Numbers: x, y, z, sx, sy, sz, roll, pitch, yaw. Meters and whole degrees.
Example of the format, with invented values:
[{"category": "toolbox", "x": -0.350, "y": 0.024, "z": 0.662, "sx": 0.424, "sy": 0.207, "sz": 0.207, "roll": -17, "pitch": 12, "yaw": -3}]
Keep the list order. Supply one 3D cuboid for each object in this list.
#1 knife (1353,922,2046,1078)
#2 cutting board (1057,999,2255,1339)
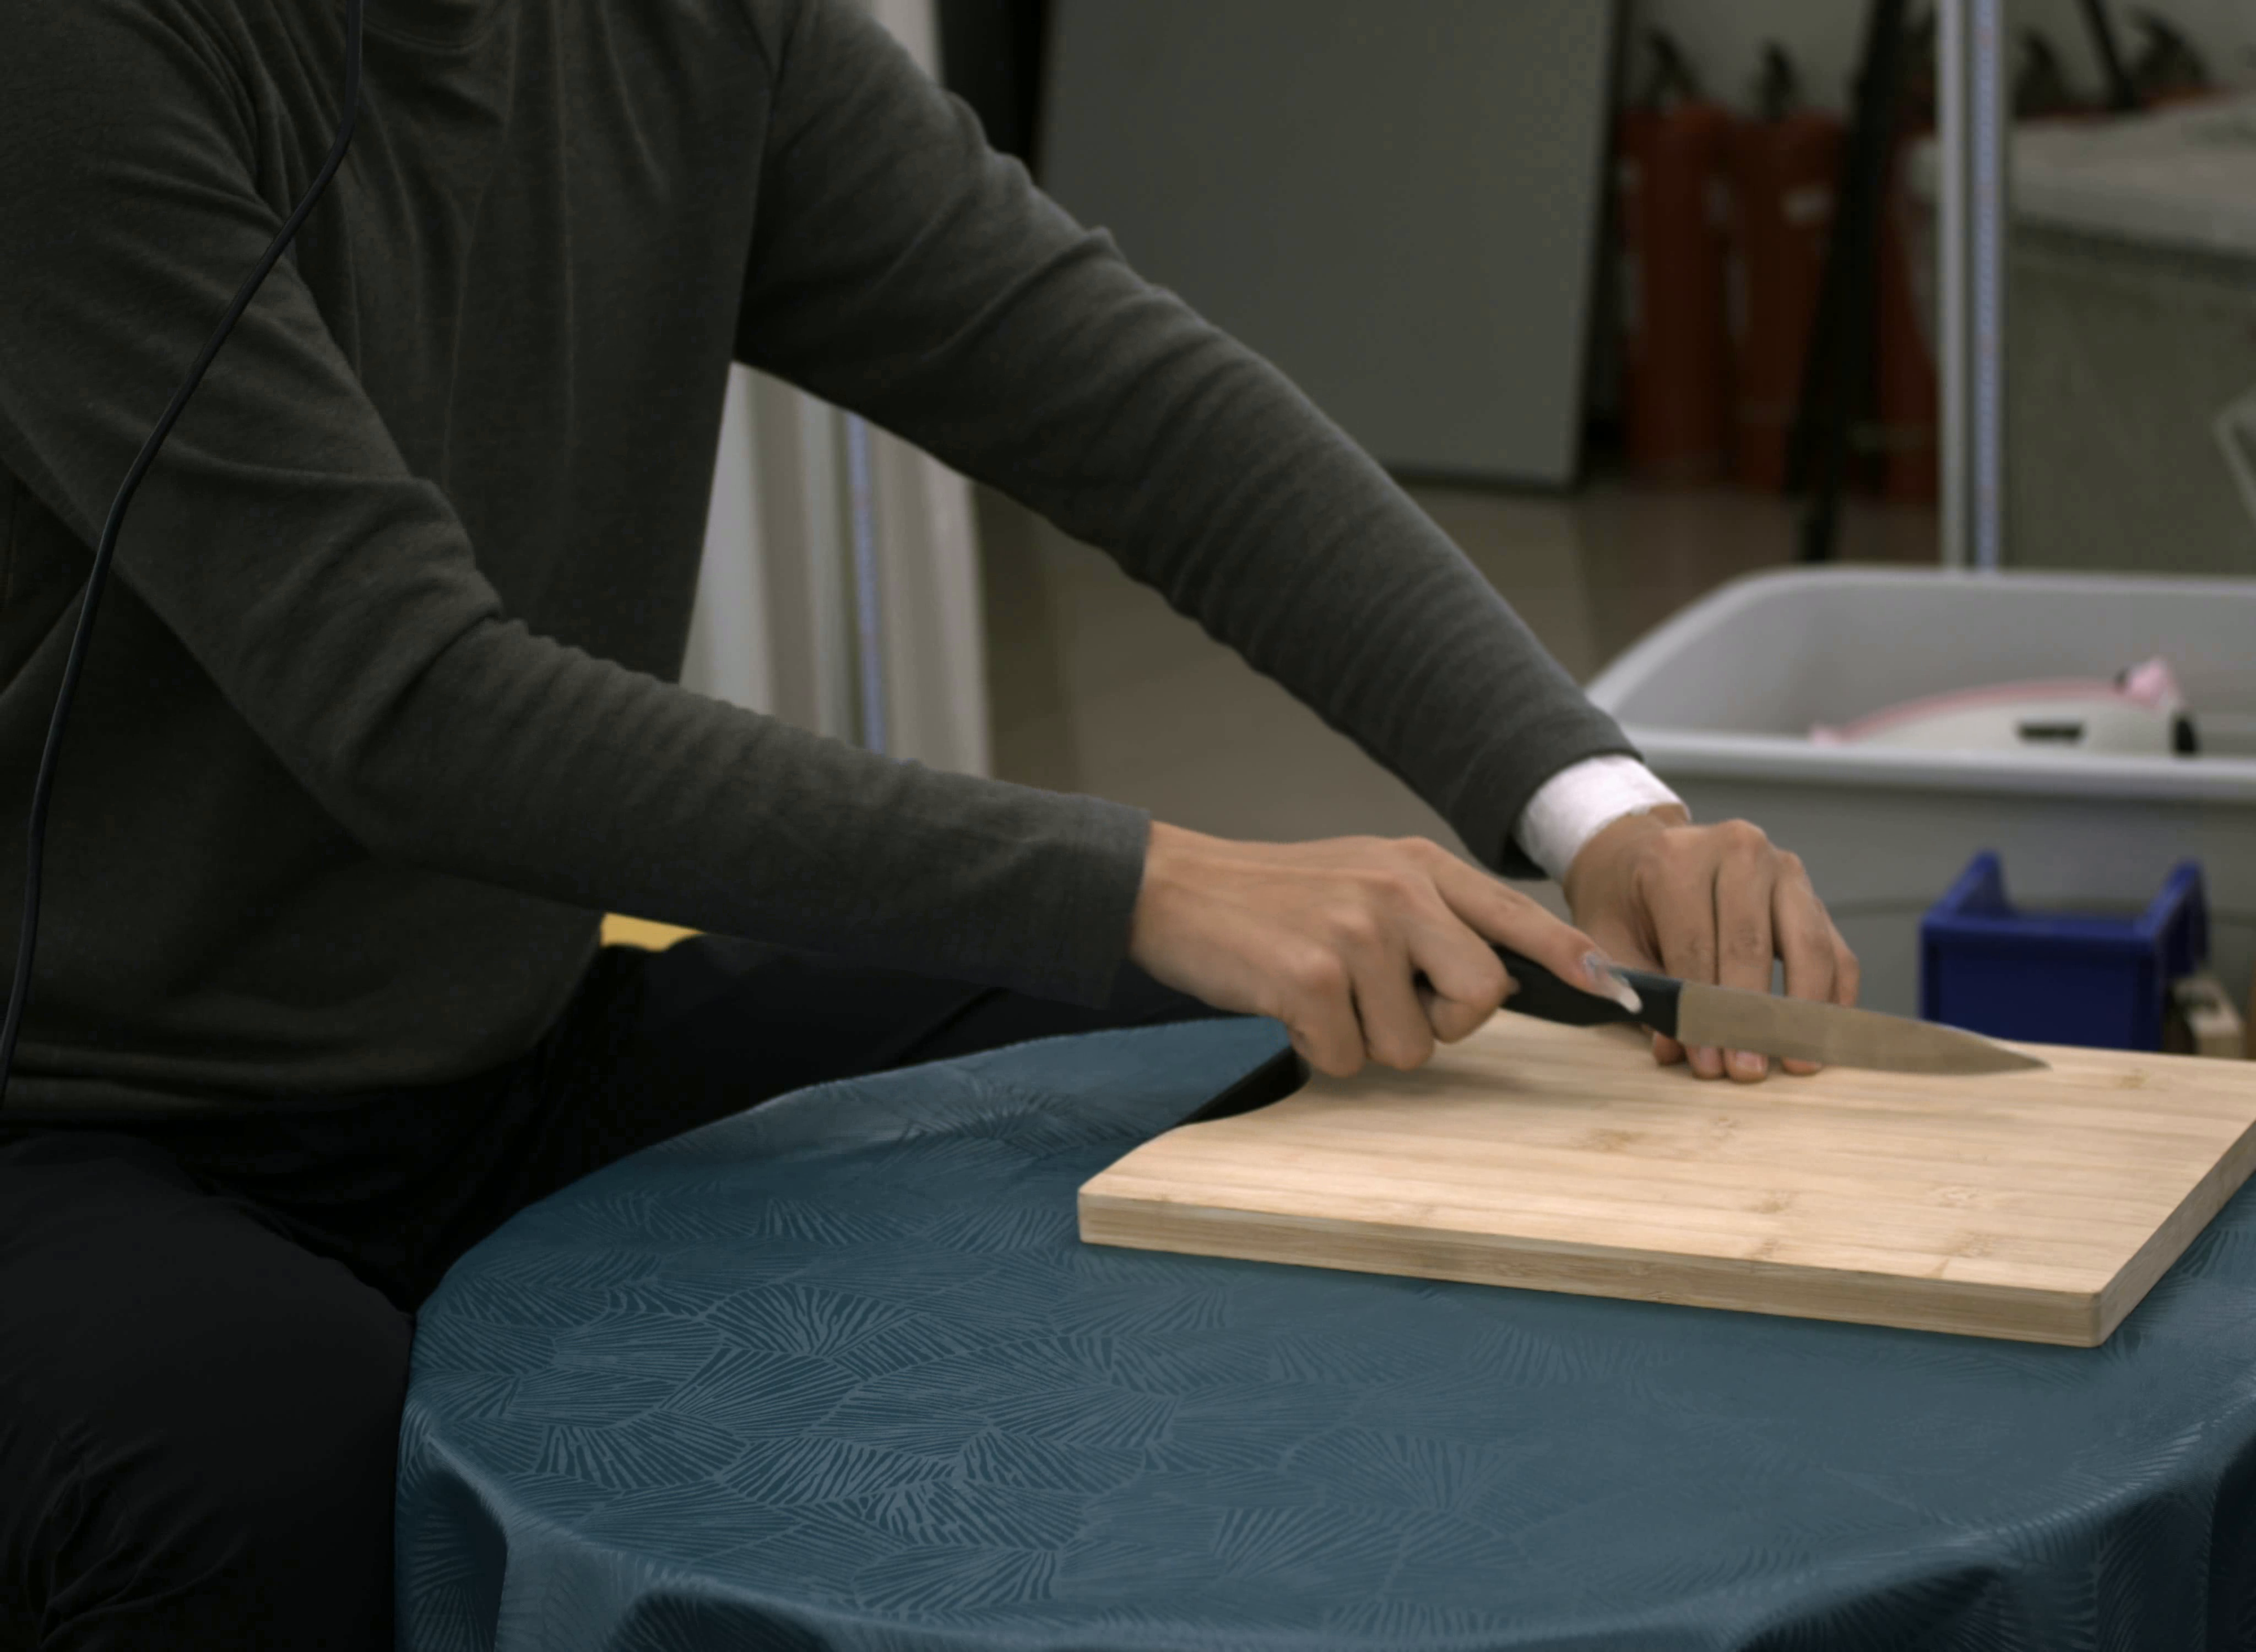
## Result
[{"category": "knife", "x": 0.186, "y": 0.057, "z": 1.766, "sx": 0.238, "sy": 0.025, "sz": 0.016, "roll": 9, "pitch": 17, "yaw": 22}, {"category": "cutting board", "x": 0.181, "y": 0.107, "z": 1.748, "sx": 0.349, "sy": 0.024, "sz": 0.247, "roll": 3, "pitch": 14, "yaw": 27}]
